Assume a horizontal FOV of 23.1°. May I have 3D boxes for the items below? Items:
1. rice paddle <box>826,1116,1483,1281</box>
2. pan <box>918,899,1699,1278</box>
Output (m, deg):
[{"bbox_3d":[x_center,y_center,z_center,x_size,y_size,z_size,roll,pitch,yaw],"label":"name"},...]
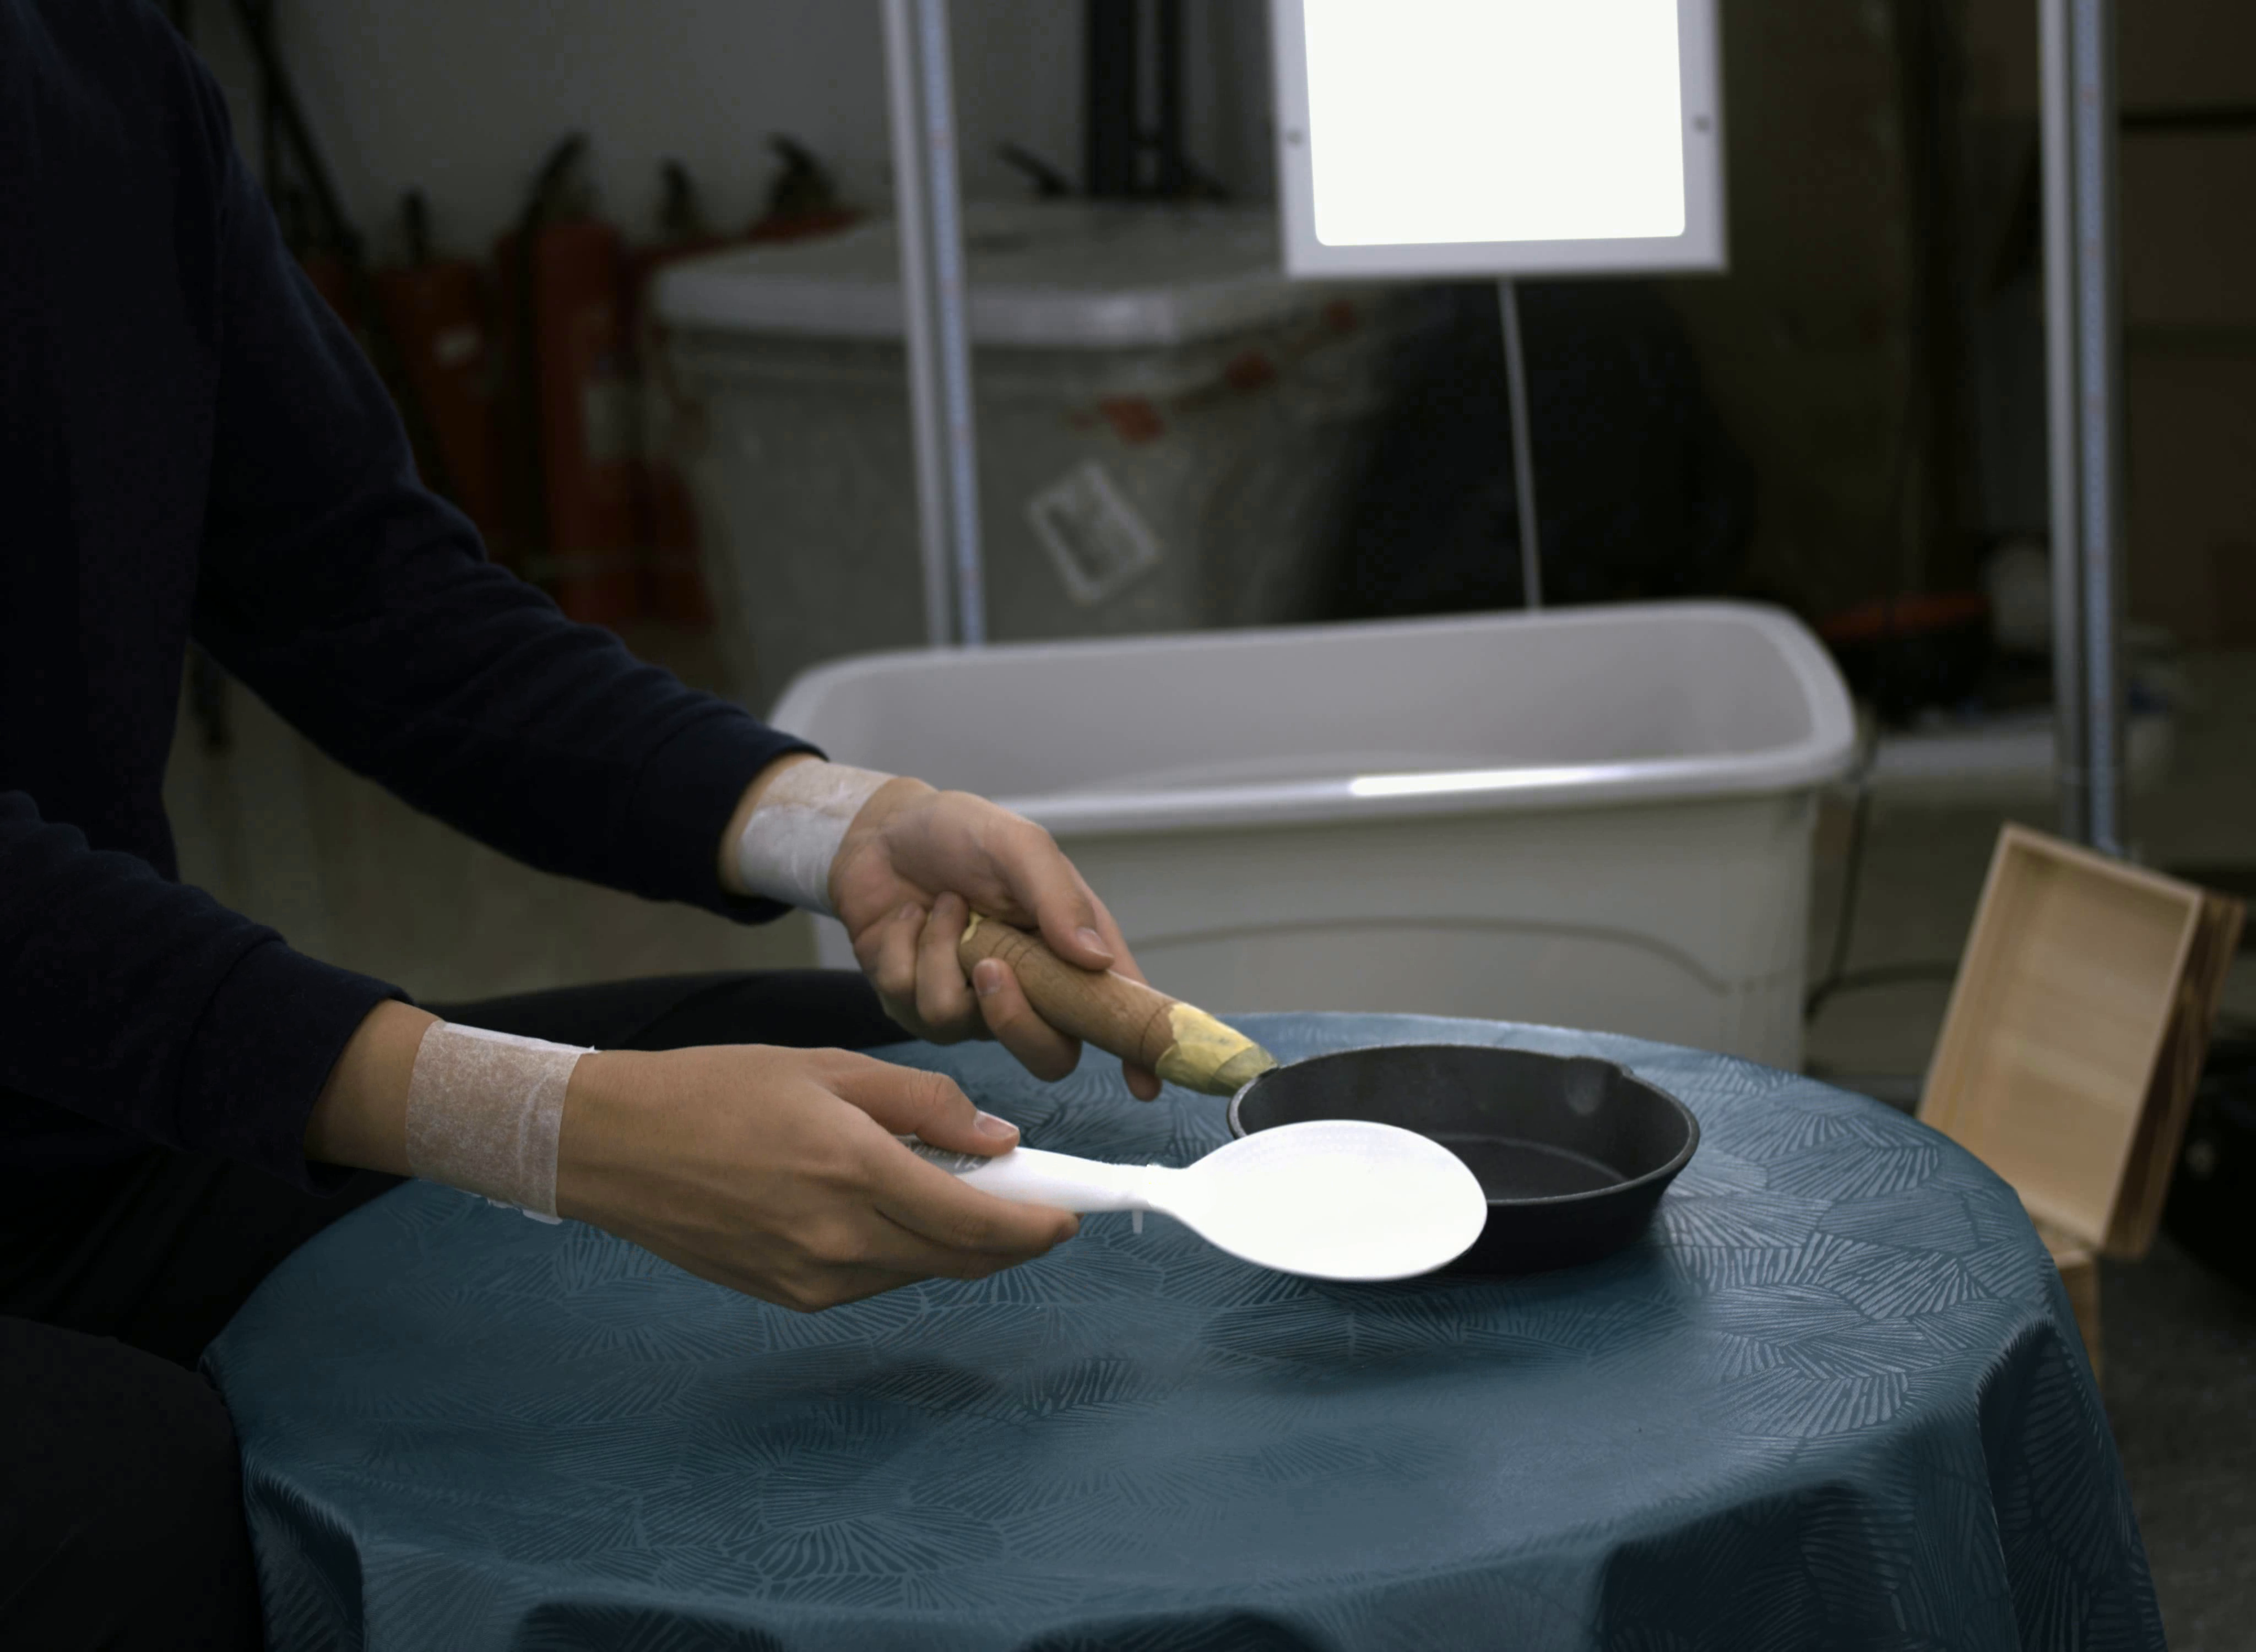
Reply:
[{"bbox_3d":[0.009,0.114,1.715,0.205,0.029,0.068,1,45,4],"label":"rice paddle"},{"bbox_3d":[0.049,0.086,1.880,0.330,0.050,0.164,18,24,41],"label":"pan"}]
